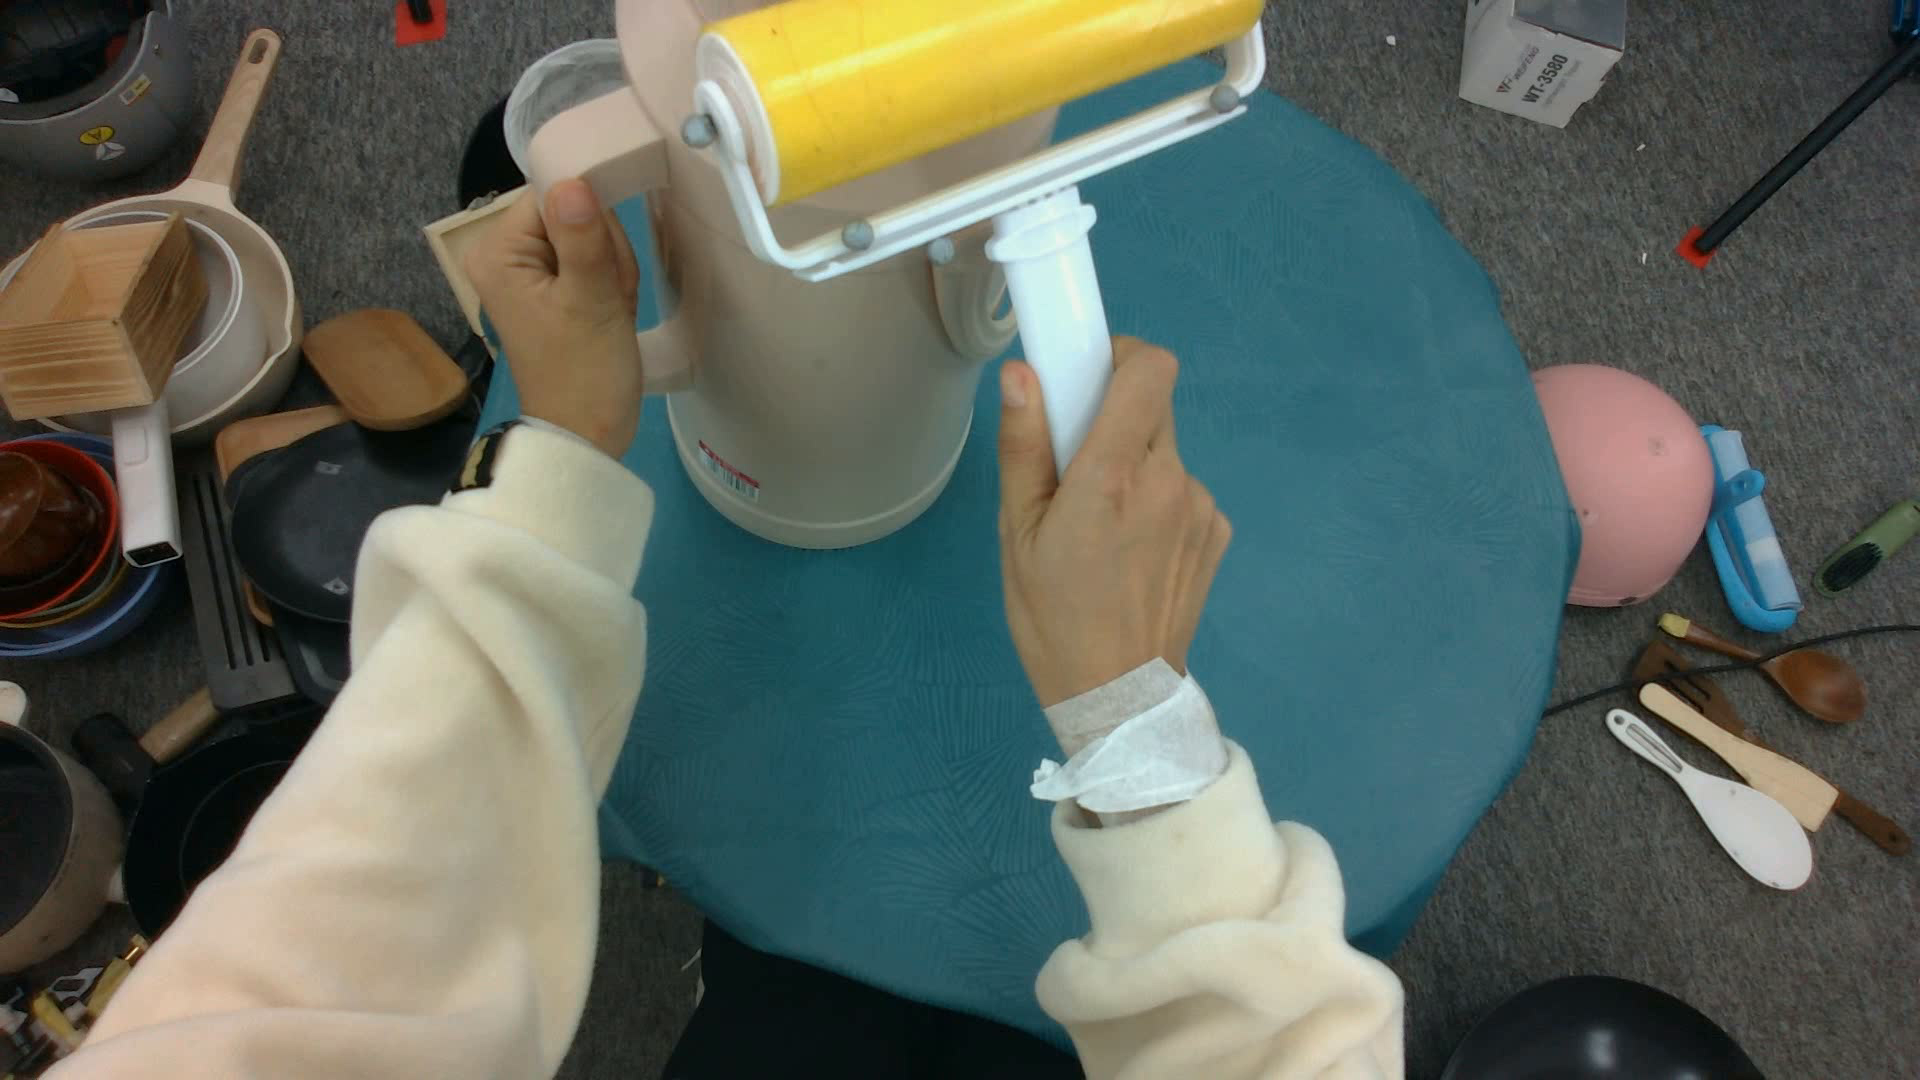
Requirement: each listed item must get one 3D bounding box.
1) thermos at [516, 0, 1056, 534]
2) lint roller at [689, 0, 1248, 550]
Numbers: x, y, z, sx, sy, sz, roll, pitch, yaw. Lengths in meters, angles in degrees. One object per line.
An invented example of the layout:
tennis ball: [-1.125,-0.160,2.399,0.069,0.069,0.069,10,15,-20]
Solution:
thermos: [-0.068,-0.143,0.561,0.207,0.404,0.175,-30,76,-18]
lint roller: [0.032,-0.084,0.411,0.175,0.051,0.192,-28,103,-21]
